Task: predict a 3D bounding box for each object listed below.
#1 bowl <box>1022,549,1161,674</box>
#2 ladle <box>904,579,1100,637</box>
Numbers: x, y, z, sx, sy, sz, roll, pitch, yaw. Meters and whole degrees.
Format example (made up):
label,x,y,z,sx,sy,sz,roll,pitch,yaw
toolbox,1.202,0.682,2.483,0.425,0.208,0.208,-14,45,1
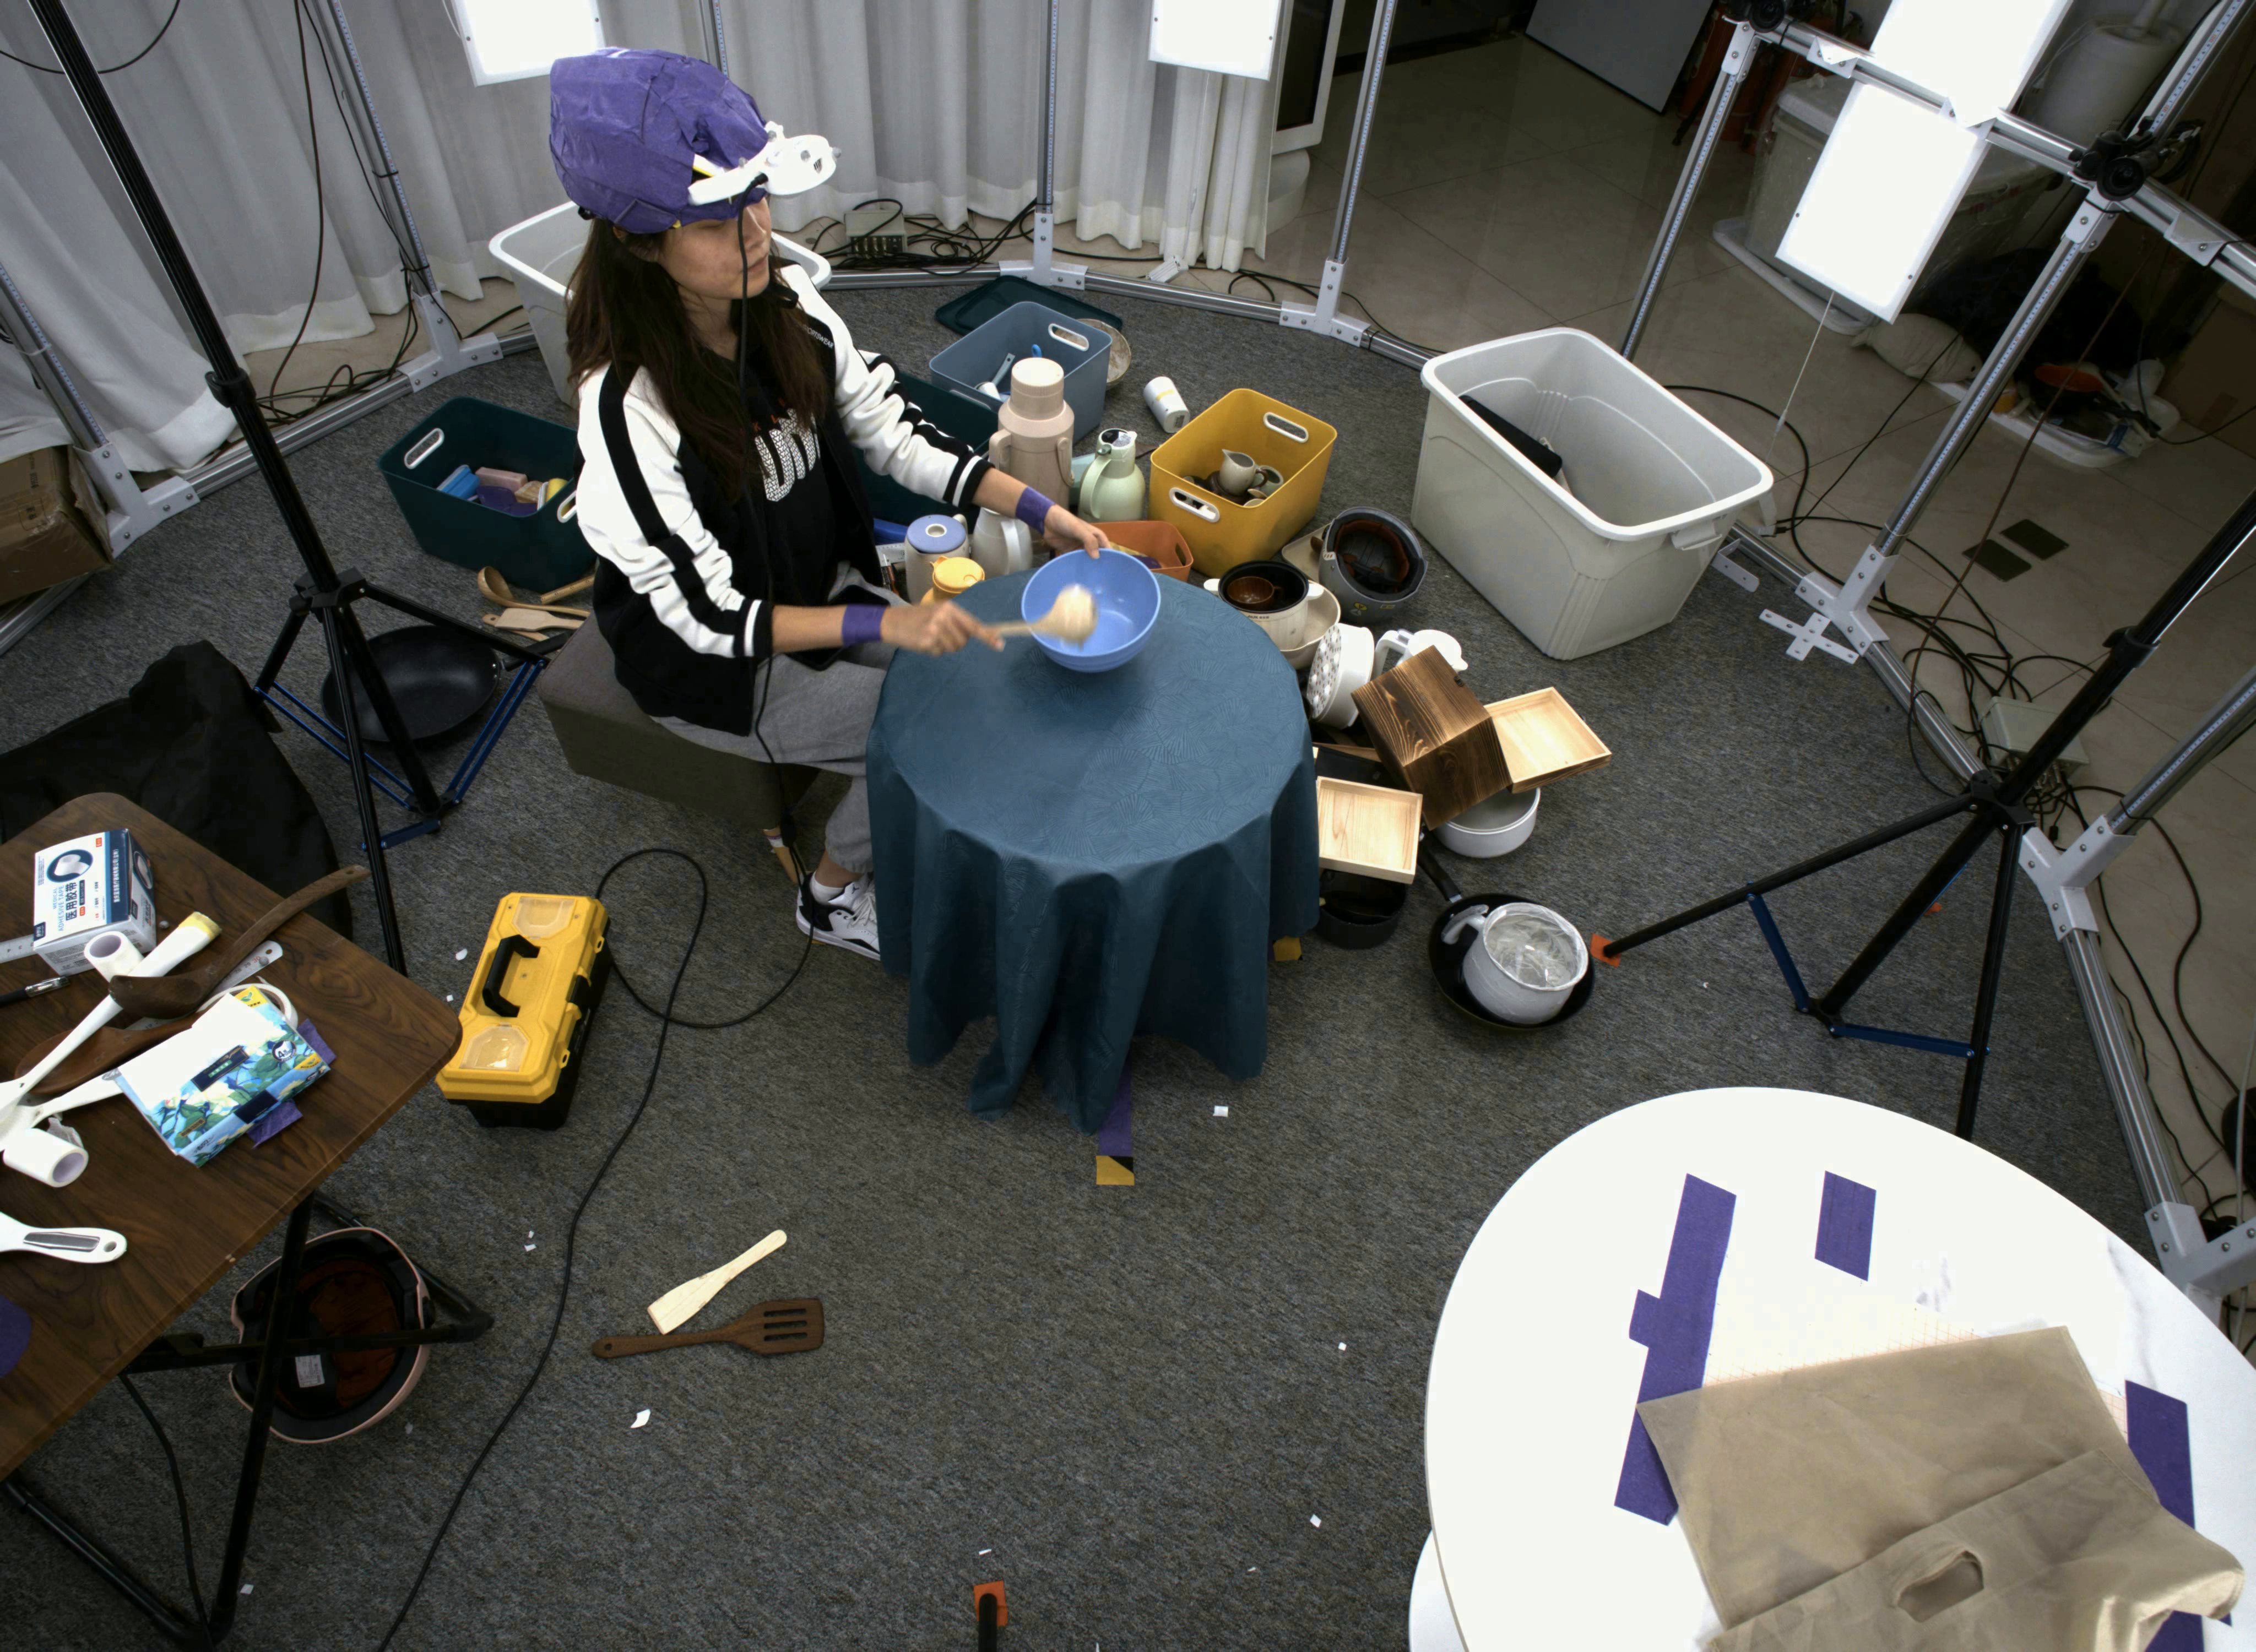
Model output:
label,x,y,z,sx,sy,sz,roll,pitch,yaw
bowl,-0.049,-0.291,1.841,0.196,0.093,0.201,-2,58,4
ladle,-0.161,-0.275,1.676,0.255,0.071,0.074,-2,26,18
